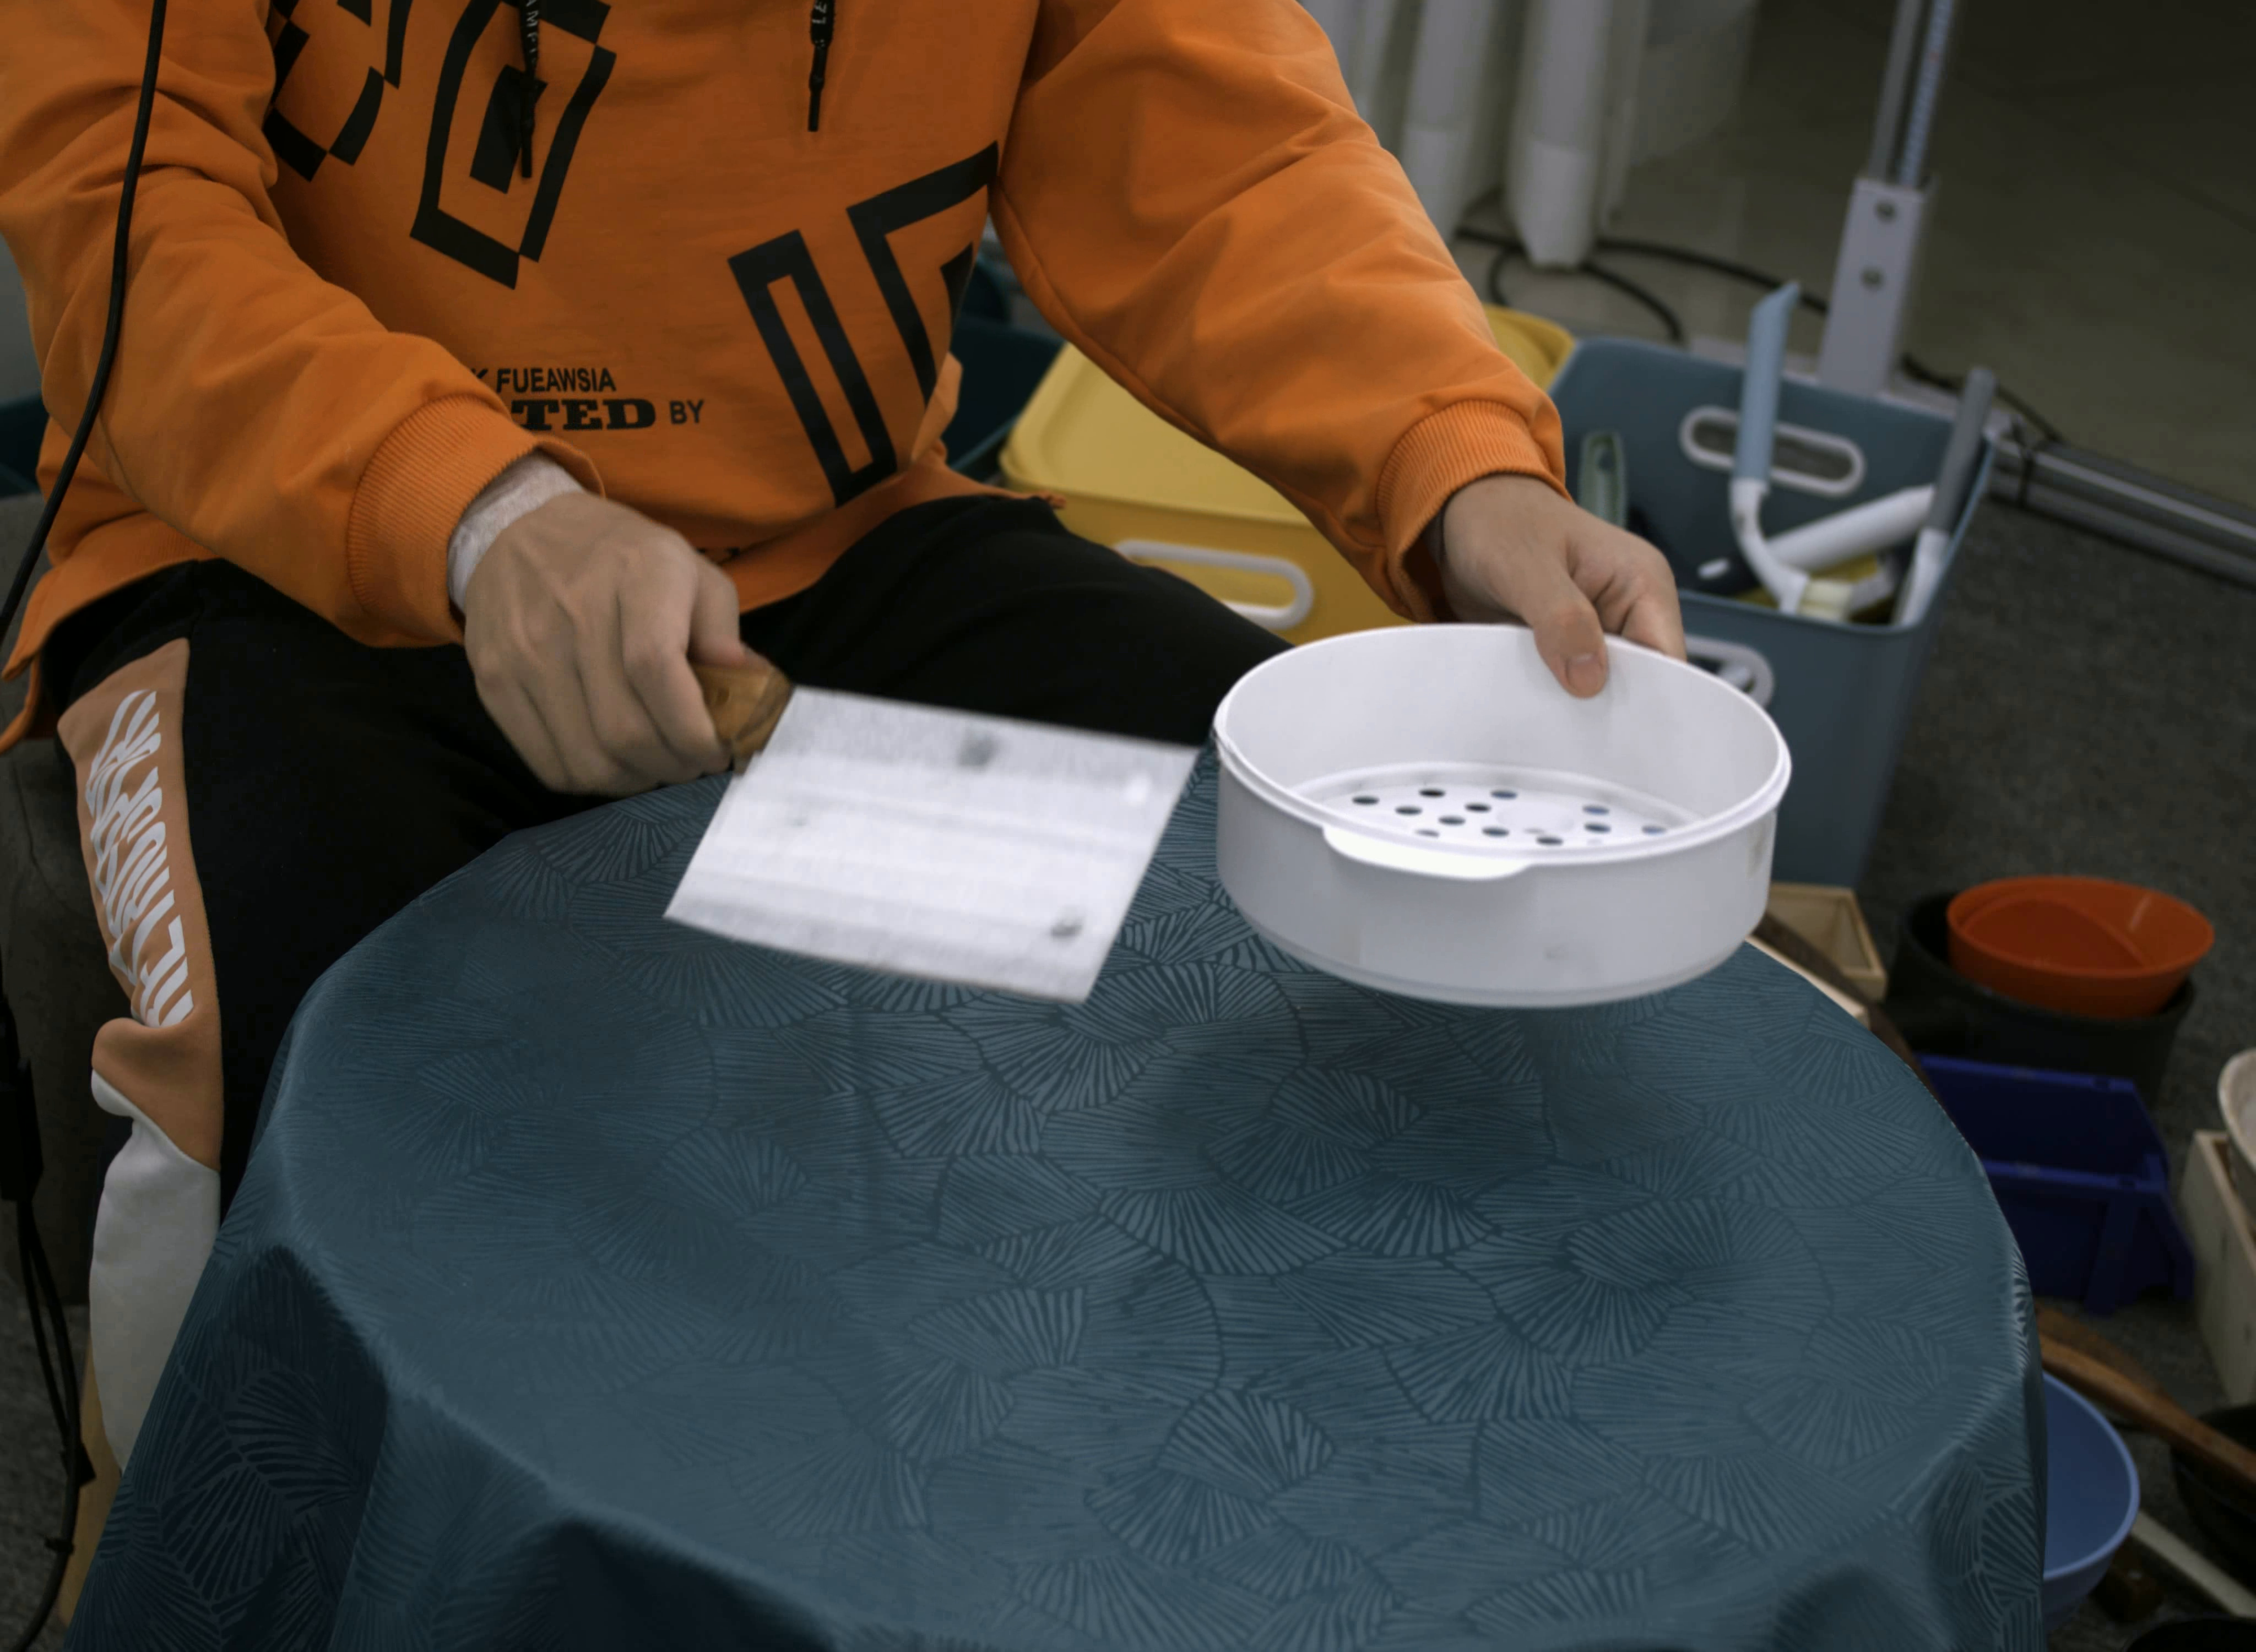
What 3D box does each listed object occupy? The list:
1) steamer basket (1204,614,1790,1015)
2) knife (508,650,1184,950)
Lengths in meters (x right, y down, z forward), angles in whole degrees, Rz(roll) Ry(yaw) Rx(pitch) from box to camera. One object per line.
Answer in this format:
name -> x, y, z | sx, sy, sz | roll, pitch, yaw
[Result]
steamer basket -> 0.126, -0.003, 1.848 | 0.202, 0.069, 0.231 | 9, 27, 17
knife -> -0.106, -0.008, 1.743 | 0.307, 0.093, 0.021 | 9, -20, 43
